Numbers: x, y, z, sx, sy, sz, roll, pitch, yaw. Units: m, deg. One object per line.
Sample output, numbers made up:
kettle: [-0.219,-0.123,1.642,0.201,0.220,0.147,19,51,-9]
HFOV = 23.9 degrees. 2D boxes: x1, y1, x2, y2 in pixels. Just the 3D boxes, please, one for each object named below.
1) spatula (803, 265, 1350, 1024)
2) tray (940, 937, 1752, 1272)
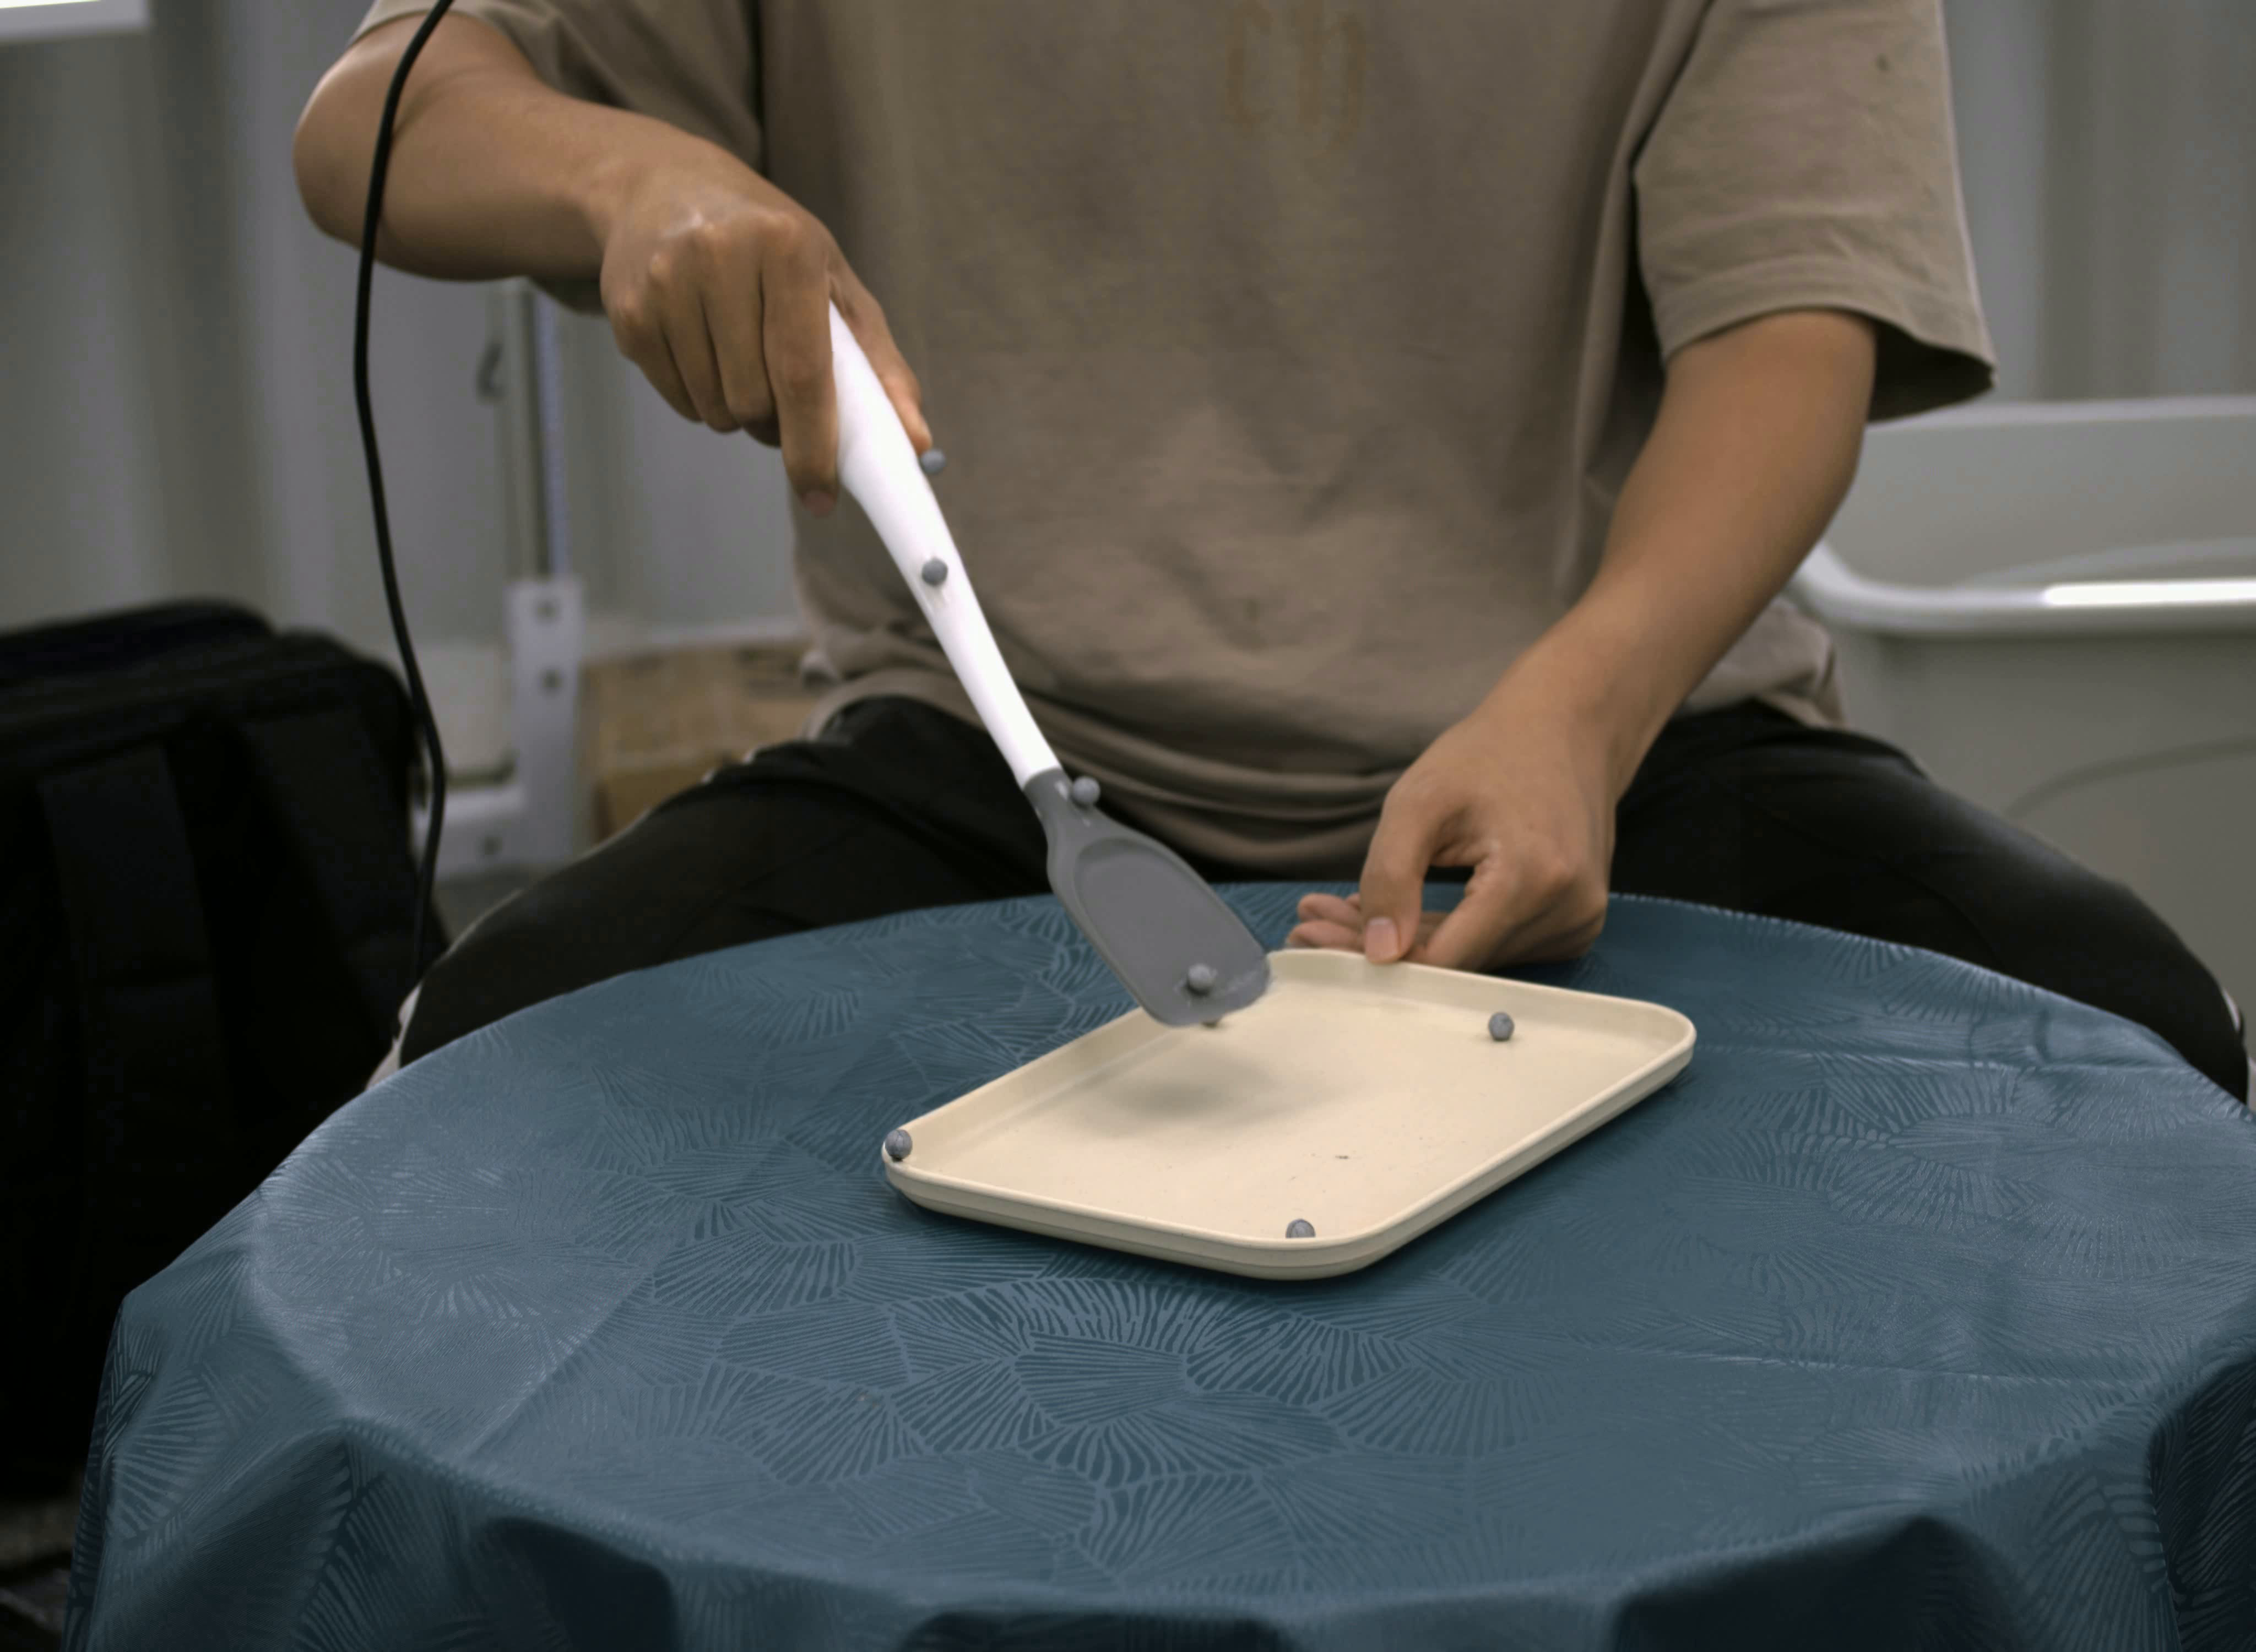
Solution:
spatula: [-0.022,-0.055,1.658,0.057,0.032,0.292,-13,61,-36]
tray: [0.069,0.082,1.591,0.175,0.017,0.235,10,20,34]
